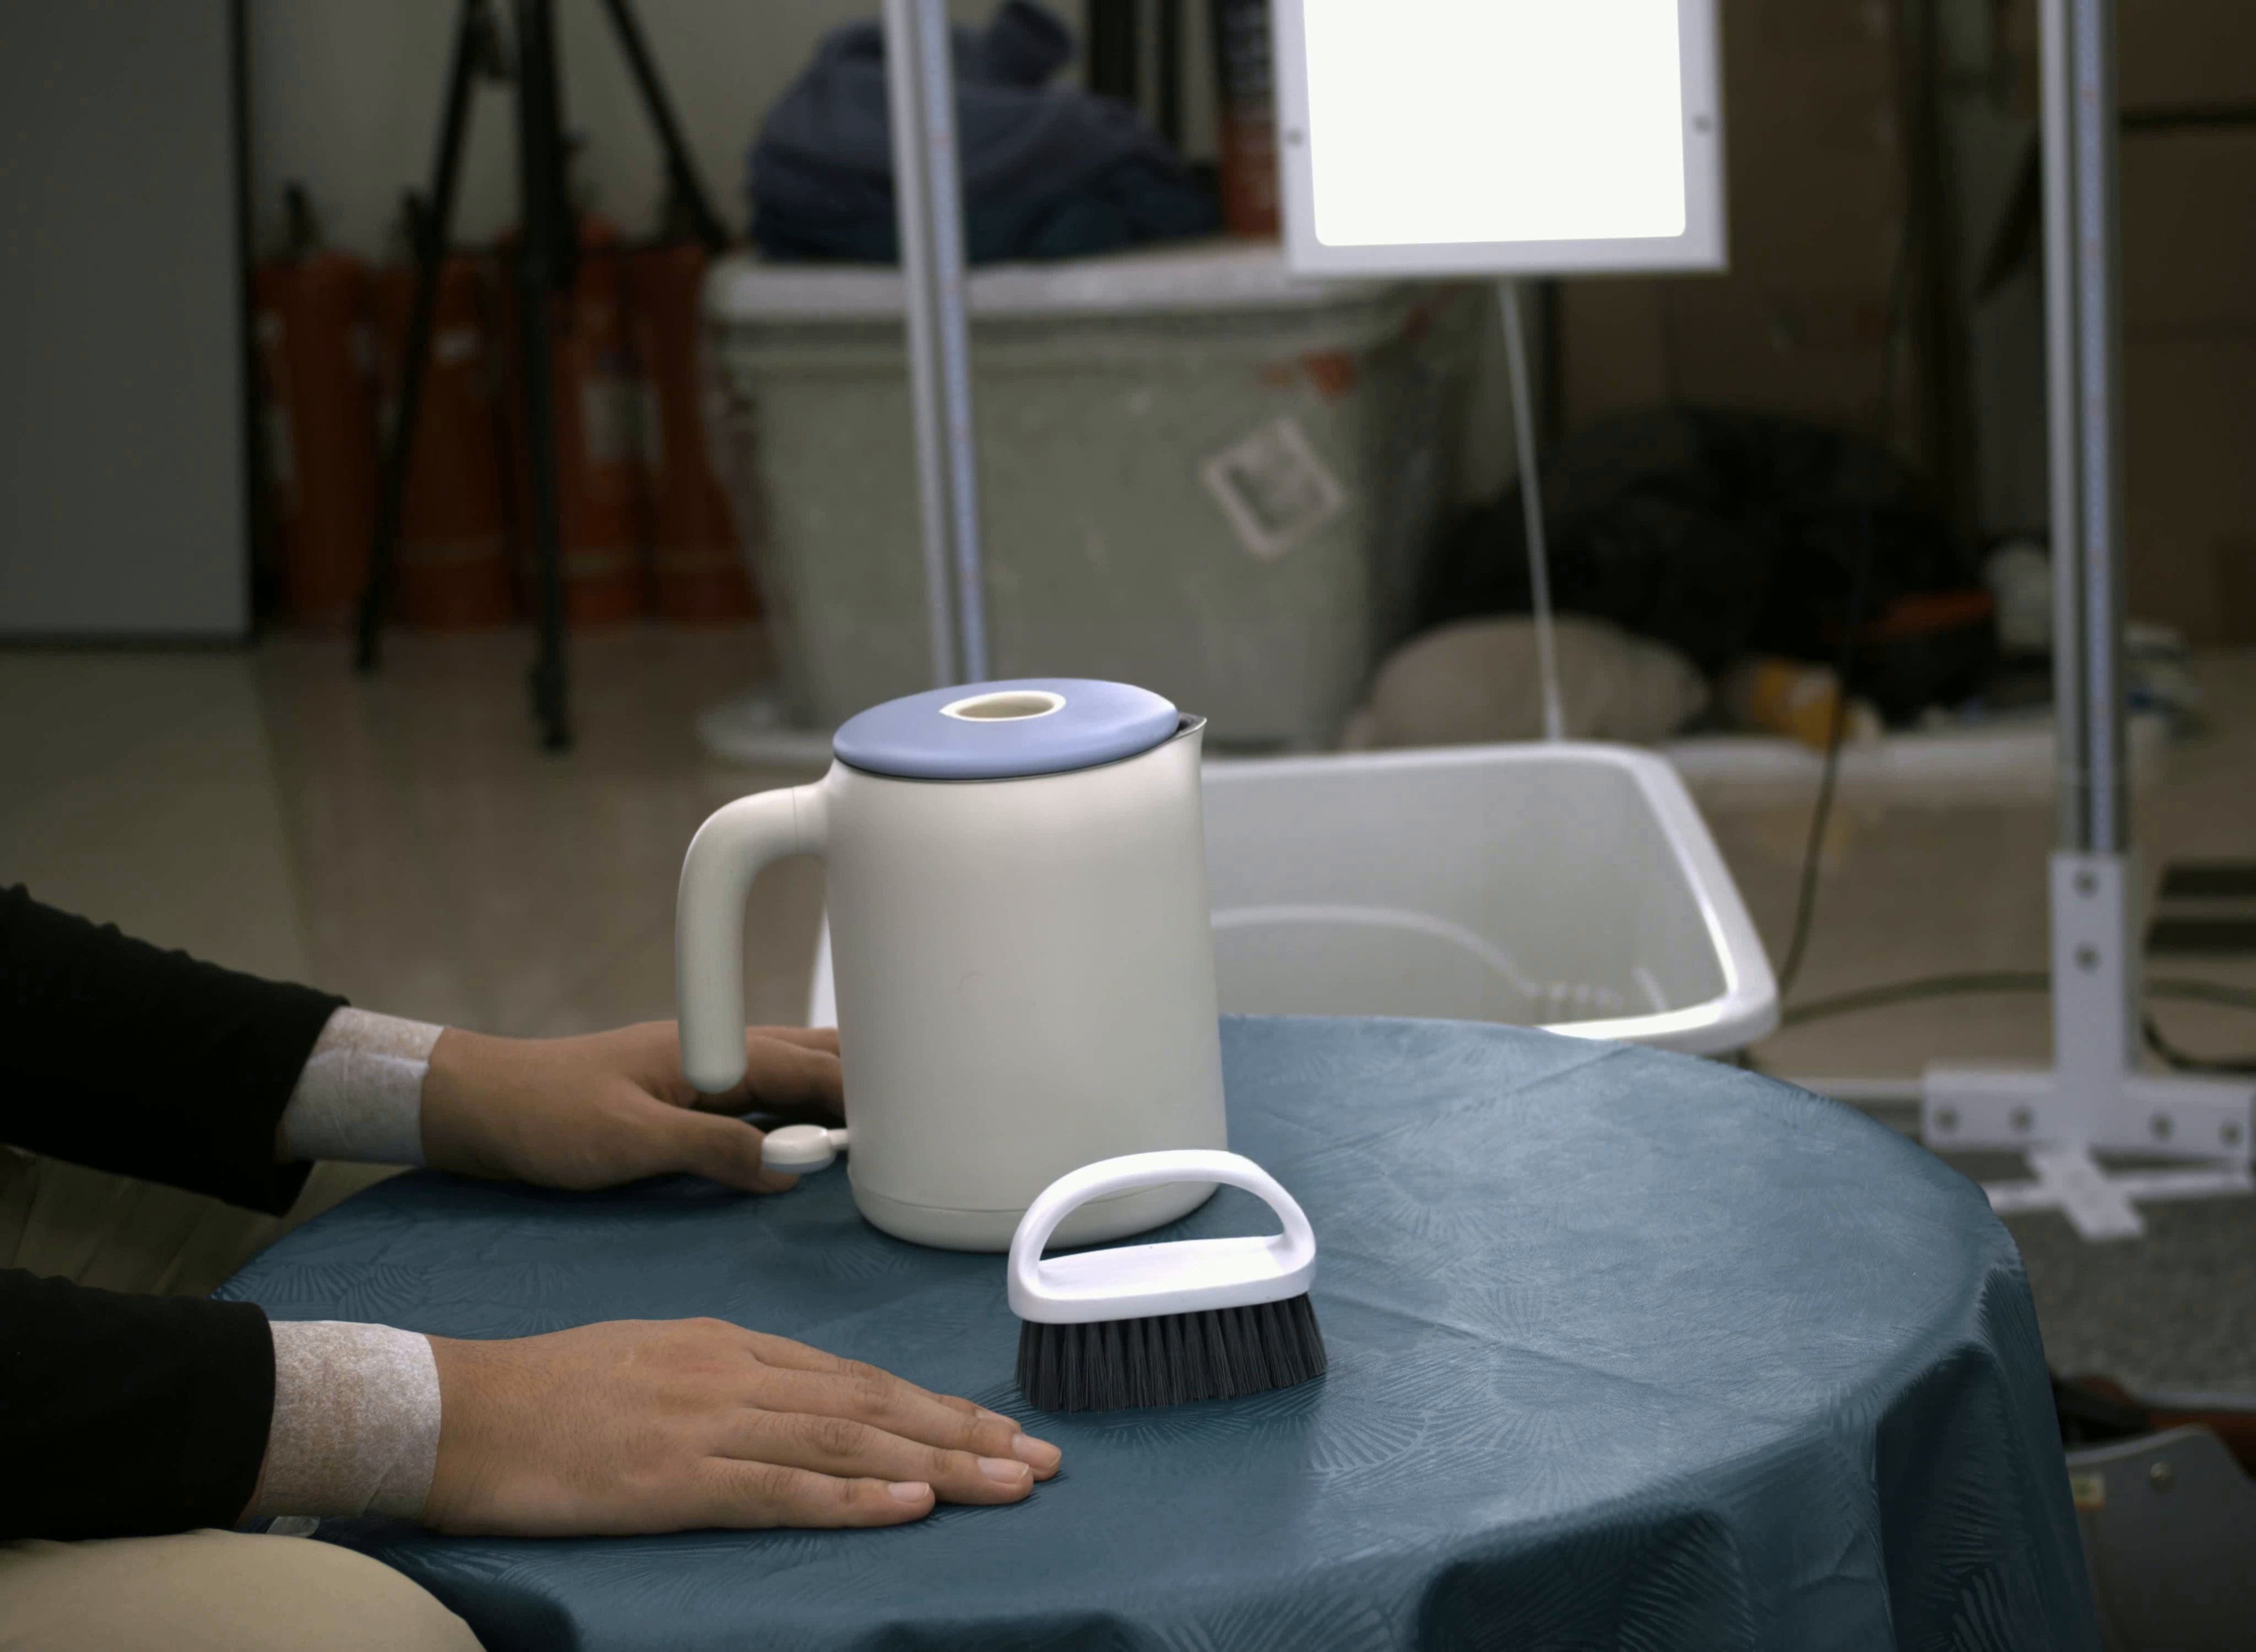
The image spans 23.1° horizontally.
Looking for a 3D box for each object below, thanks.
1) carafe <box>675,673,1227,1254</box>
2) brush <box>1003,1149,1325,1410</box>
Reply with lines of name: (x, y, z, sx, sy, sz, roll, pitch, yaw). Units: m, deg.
carafe: (-0.060, 0.049, 1.878, 0.190, 0.183, 0.132, -7, 14, -3)
brush: (0.010, 0.136, 1.701, 0.099, 0.073, 0.050, -5, 14, -2)
